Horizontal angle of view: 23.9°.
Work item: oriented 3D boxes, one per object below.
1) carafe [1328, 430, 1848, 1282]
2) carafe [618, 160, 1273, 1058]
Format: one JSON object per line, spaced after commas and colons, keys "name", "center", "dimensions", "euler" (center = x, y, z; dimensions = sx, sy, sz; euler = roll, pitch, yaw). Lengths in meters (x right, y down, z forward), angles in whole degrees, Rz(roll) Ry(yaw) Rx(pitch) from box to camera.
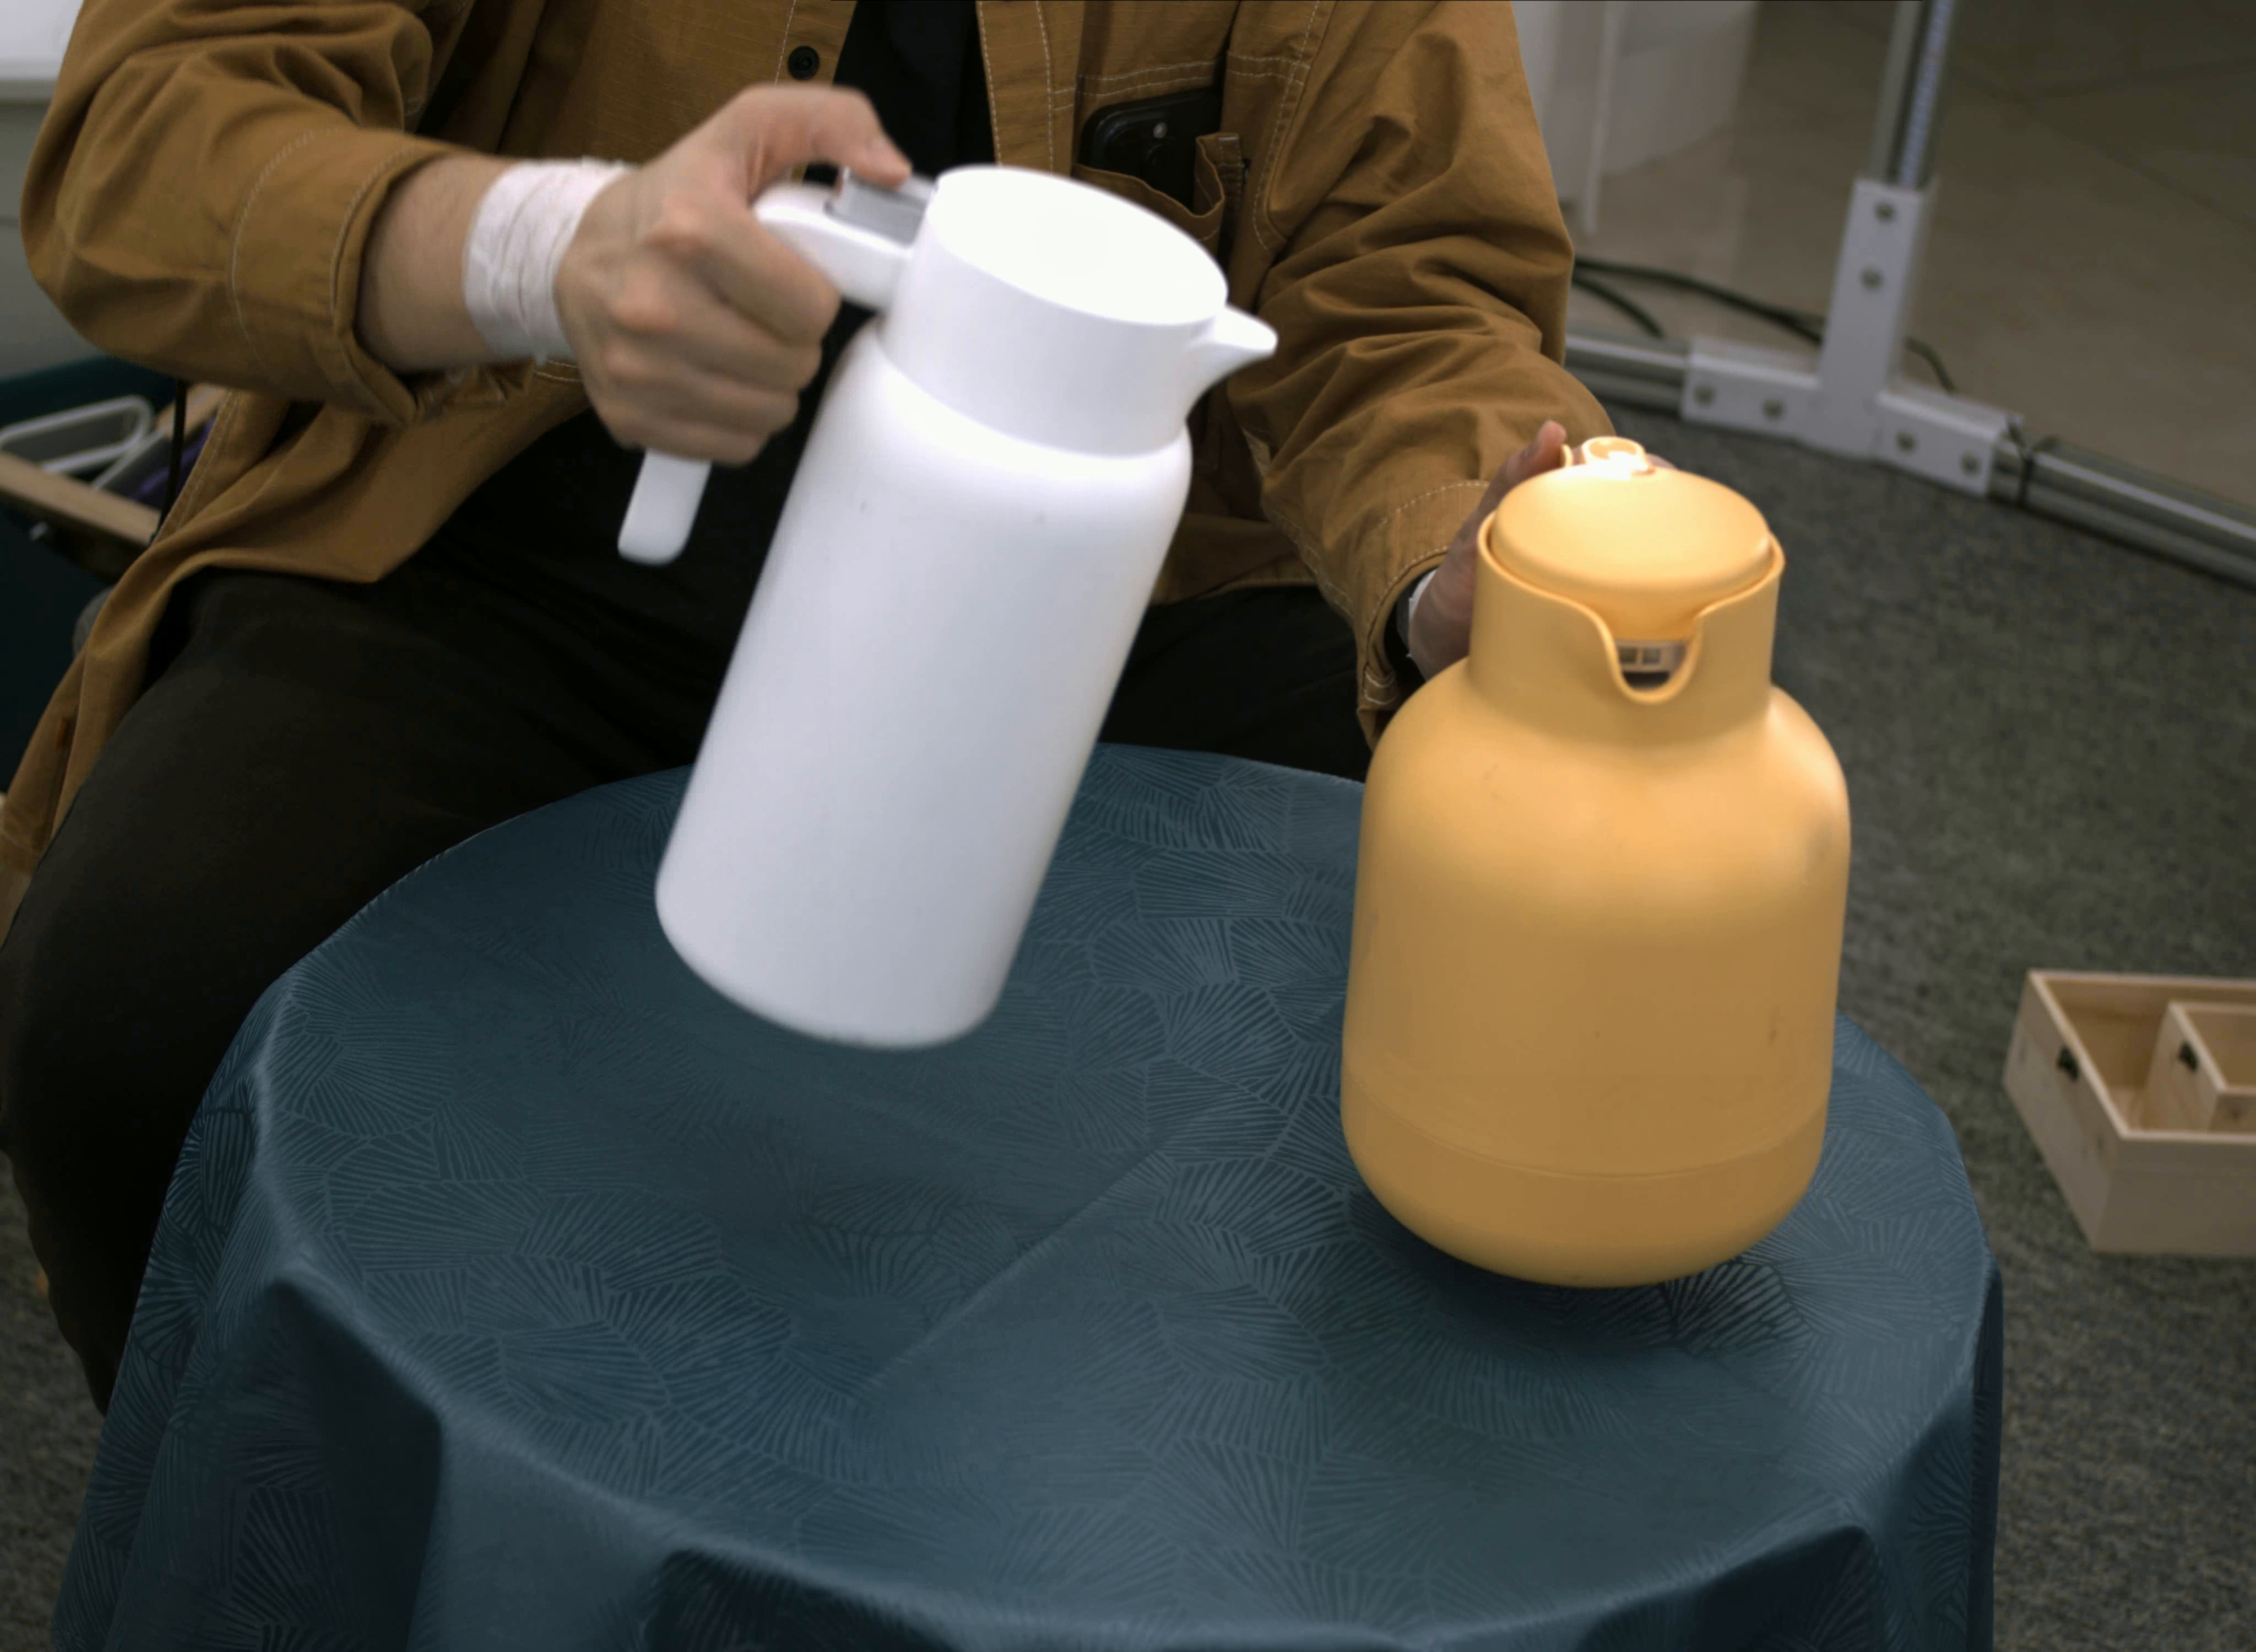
{"name": "carafe", "center": [0.155, 0.000, 1.757], "dimensions": [0.163, 0.259, 0.203], "euler": [5, 29, -1]}
{"name": "carafe", "center": [-0.075, -0.070, 1.670], "dimensions": [0.172, 0.268, 0.124], "euler": [18, 28, -3]}
